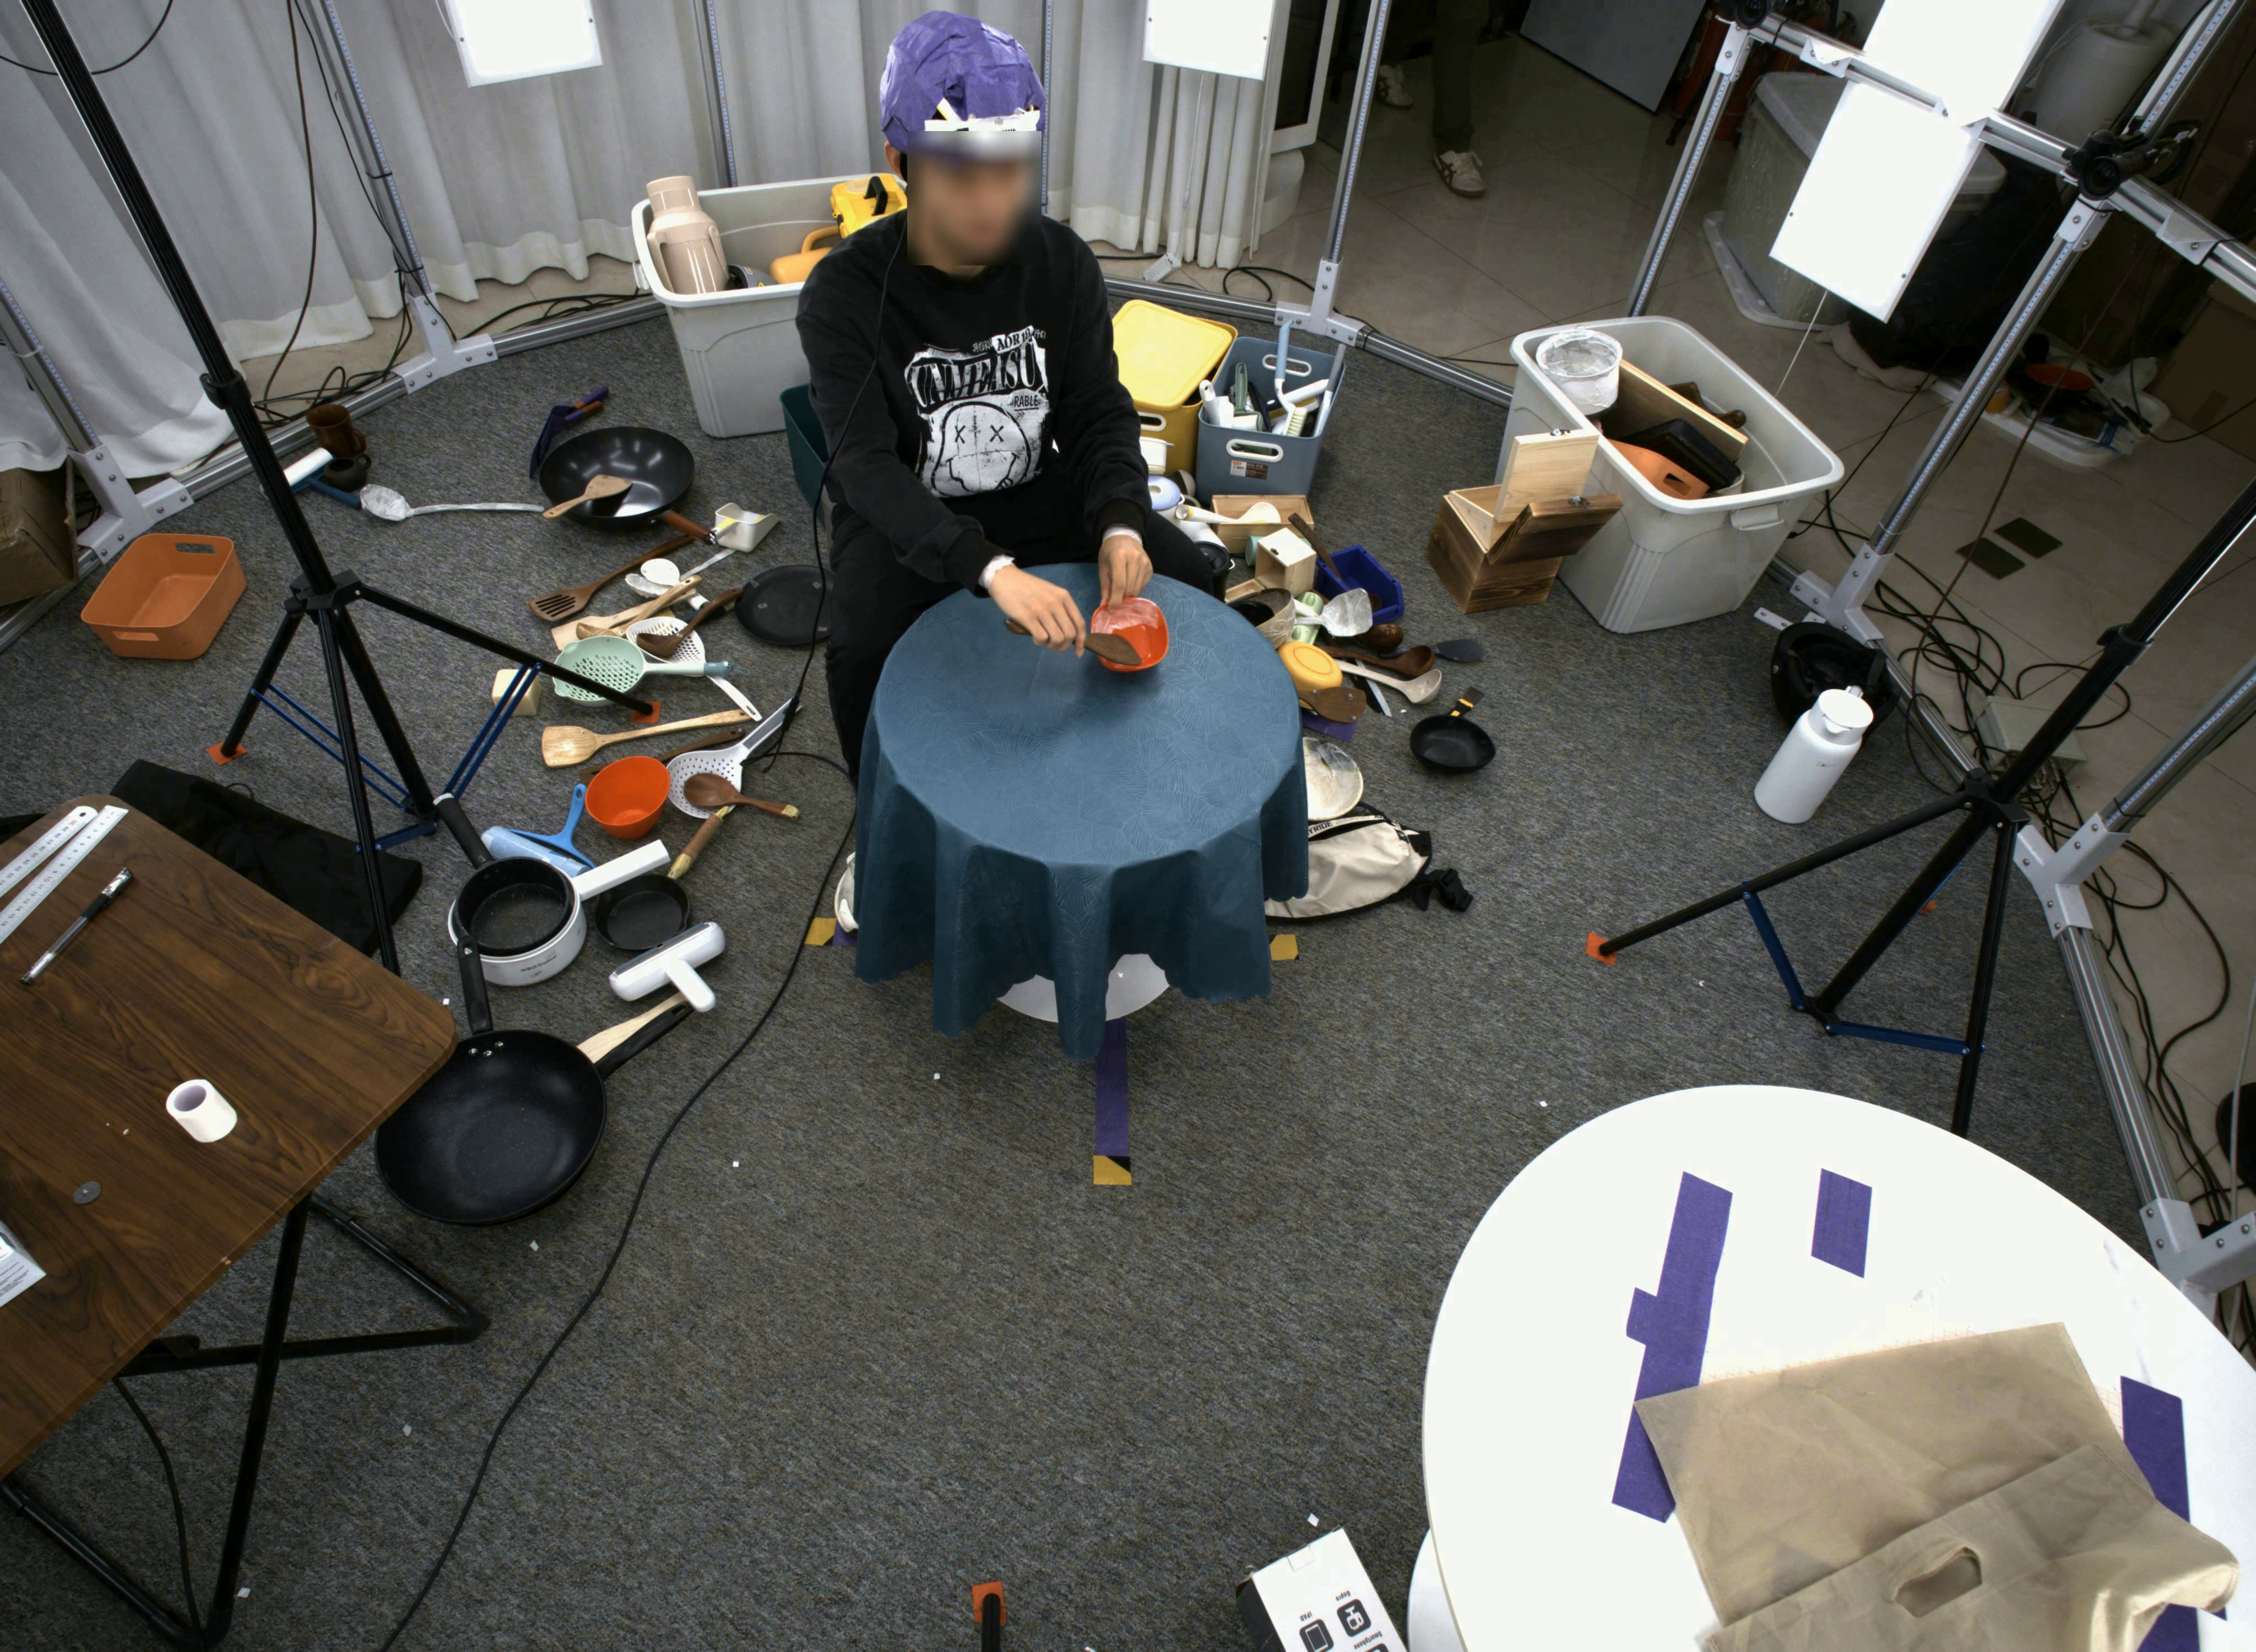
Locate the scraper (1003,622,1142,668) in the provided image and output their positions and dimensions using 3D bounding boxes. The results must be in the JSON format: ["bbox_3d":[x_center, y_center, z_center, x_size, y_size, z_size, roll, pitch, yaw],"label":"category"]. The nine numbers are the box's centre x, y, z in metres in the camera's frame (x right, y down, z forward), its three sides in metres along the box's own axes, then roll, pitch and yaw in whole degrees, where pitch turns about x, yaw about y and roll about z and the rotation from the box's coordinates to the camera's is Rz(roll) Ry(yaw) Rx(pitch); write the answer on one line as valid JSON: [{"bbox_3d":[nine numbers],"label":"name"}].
[{"bbox_3d":[-0.077,-0.255,1.773,0.209,0.010,0.077,7,37,-33],"label":"scraper"}]

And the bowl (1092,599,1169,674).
[{"bbox_3d":[0.002,-0.269,1.870,0.119,0.051,0.120,1,75,-5],"label":"bowl"}]
